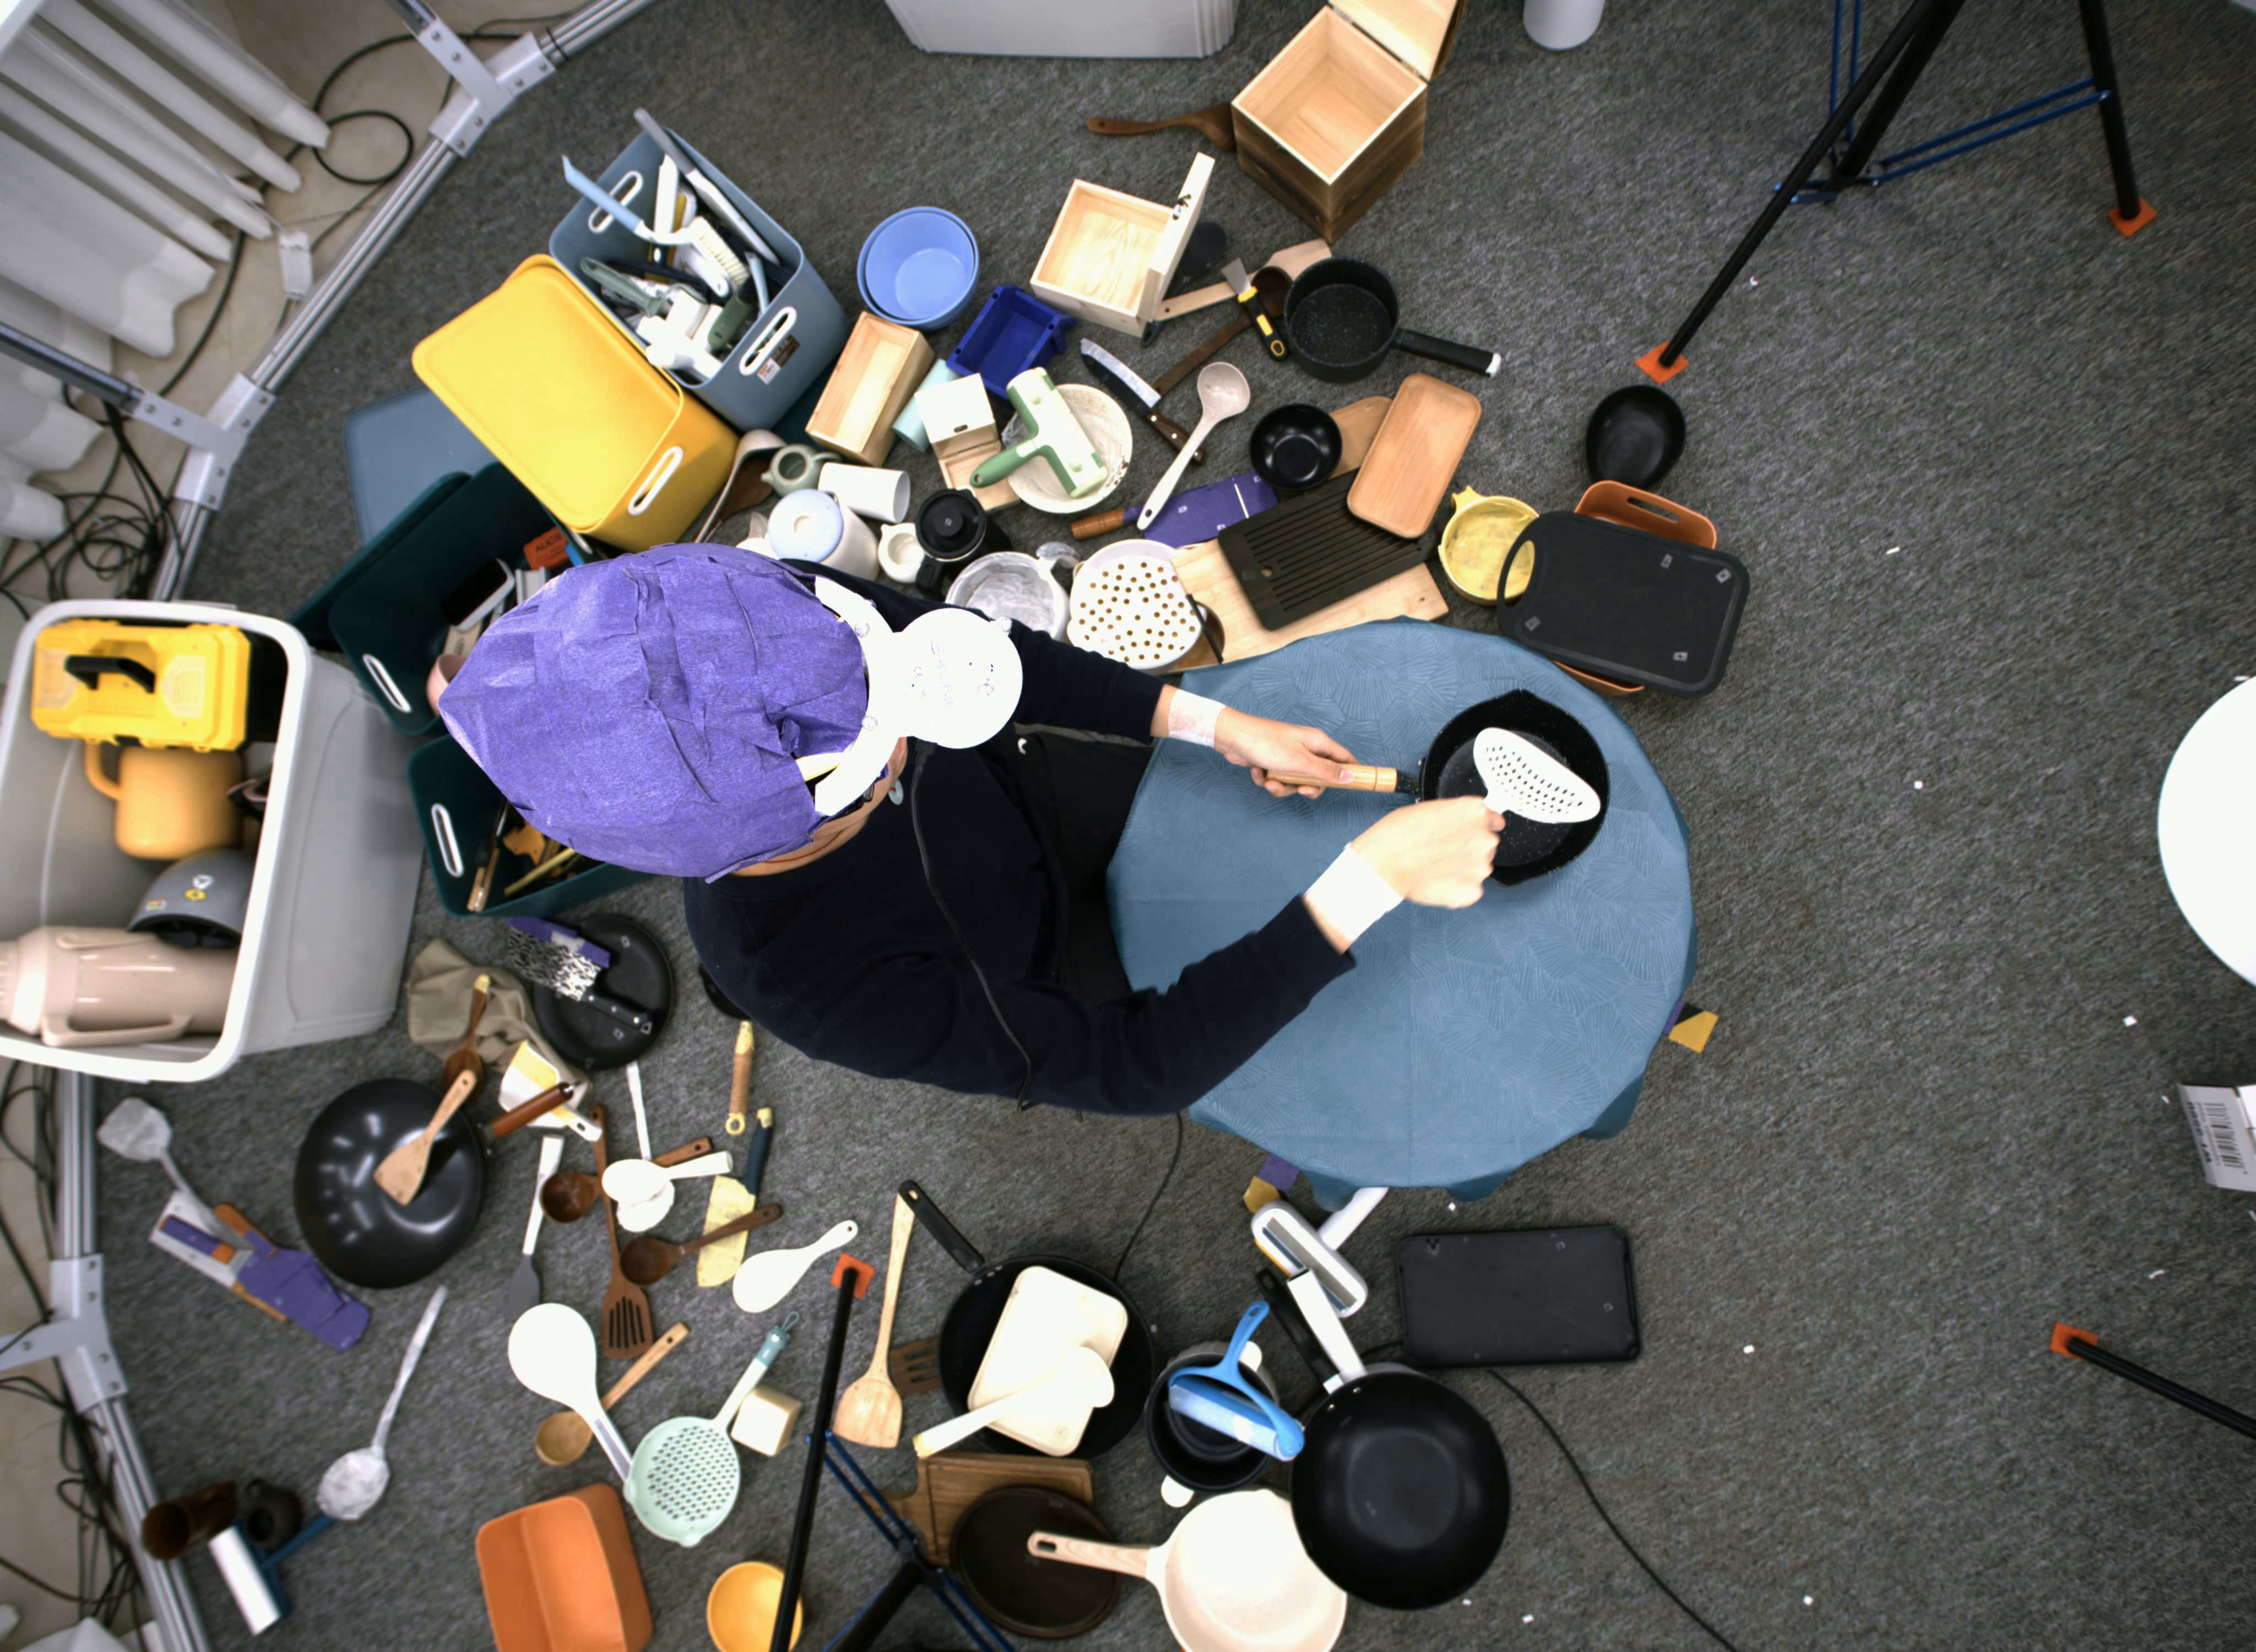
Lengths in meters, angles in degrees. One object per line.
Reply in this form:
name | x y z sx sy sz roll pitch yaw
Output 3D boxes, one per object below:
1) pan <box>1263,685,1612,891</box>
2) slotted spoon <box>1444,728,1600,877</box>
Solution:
pan | 0.311 -0.041 1.404 0.344 0.108 0.207 3 88 9
slotted spoon | 0.334 -0.018 1.223 0.136 0.343 0.051 38 115 15
